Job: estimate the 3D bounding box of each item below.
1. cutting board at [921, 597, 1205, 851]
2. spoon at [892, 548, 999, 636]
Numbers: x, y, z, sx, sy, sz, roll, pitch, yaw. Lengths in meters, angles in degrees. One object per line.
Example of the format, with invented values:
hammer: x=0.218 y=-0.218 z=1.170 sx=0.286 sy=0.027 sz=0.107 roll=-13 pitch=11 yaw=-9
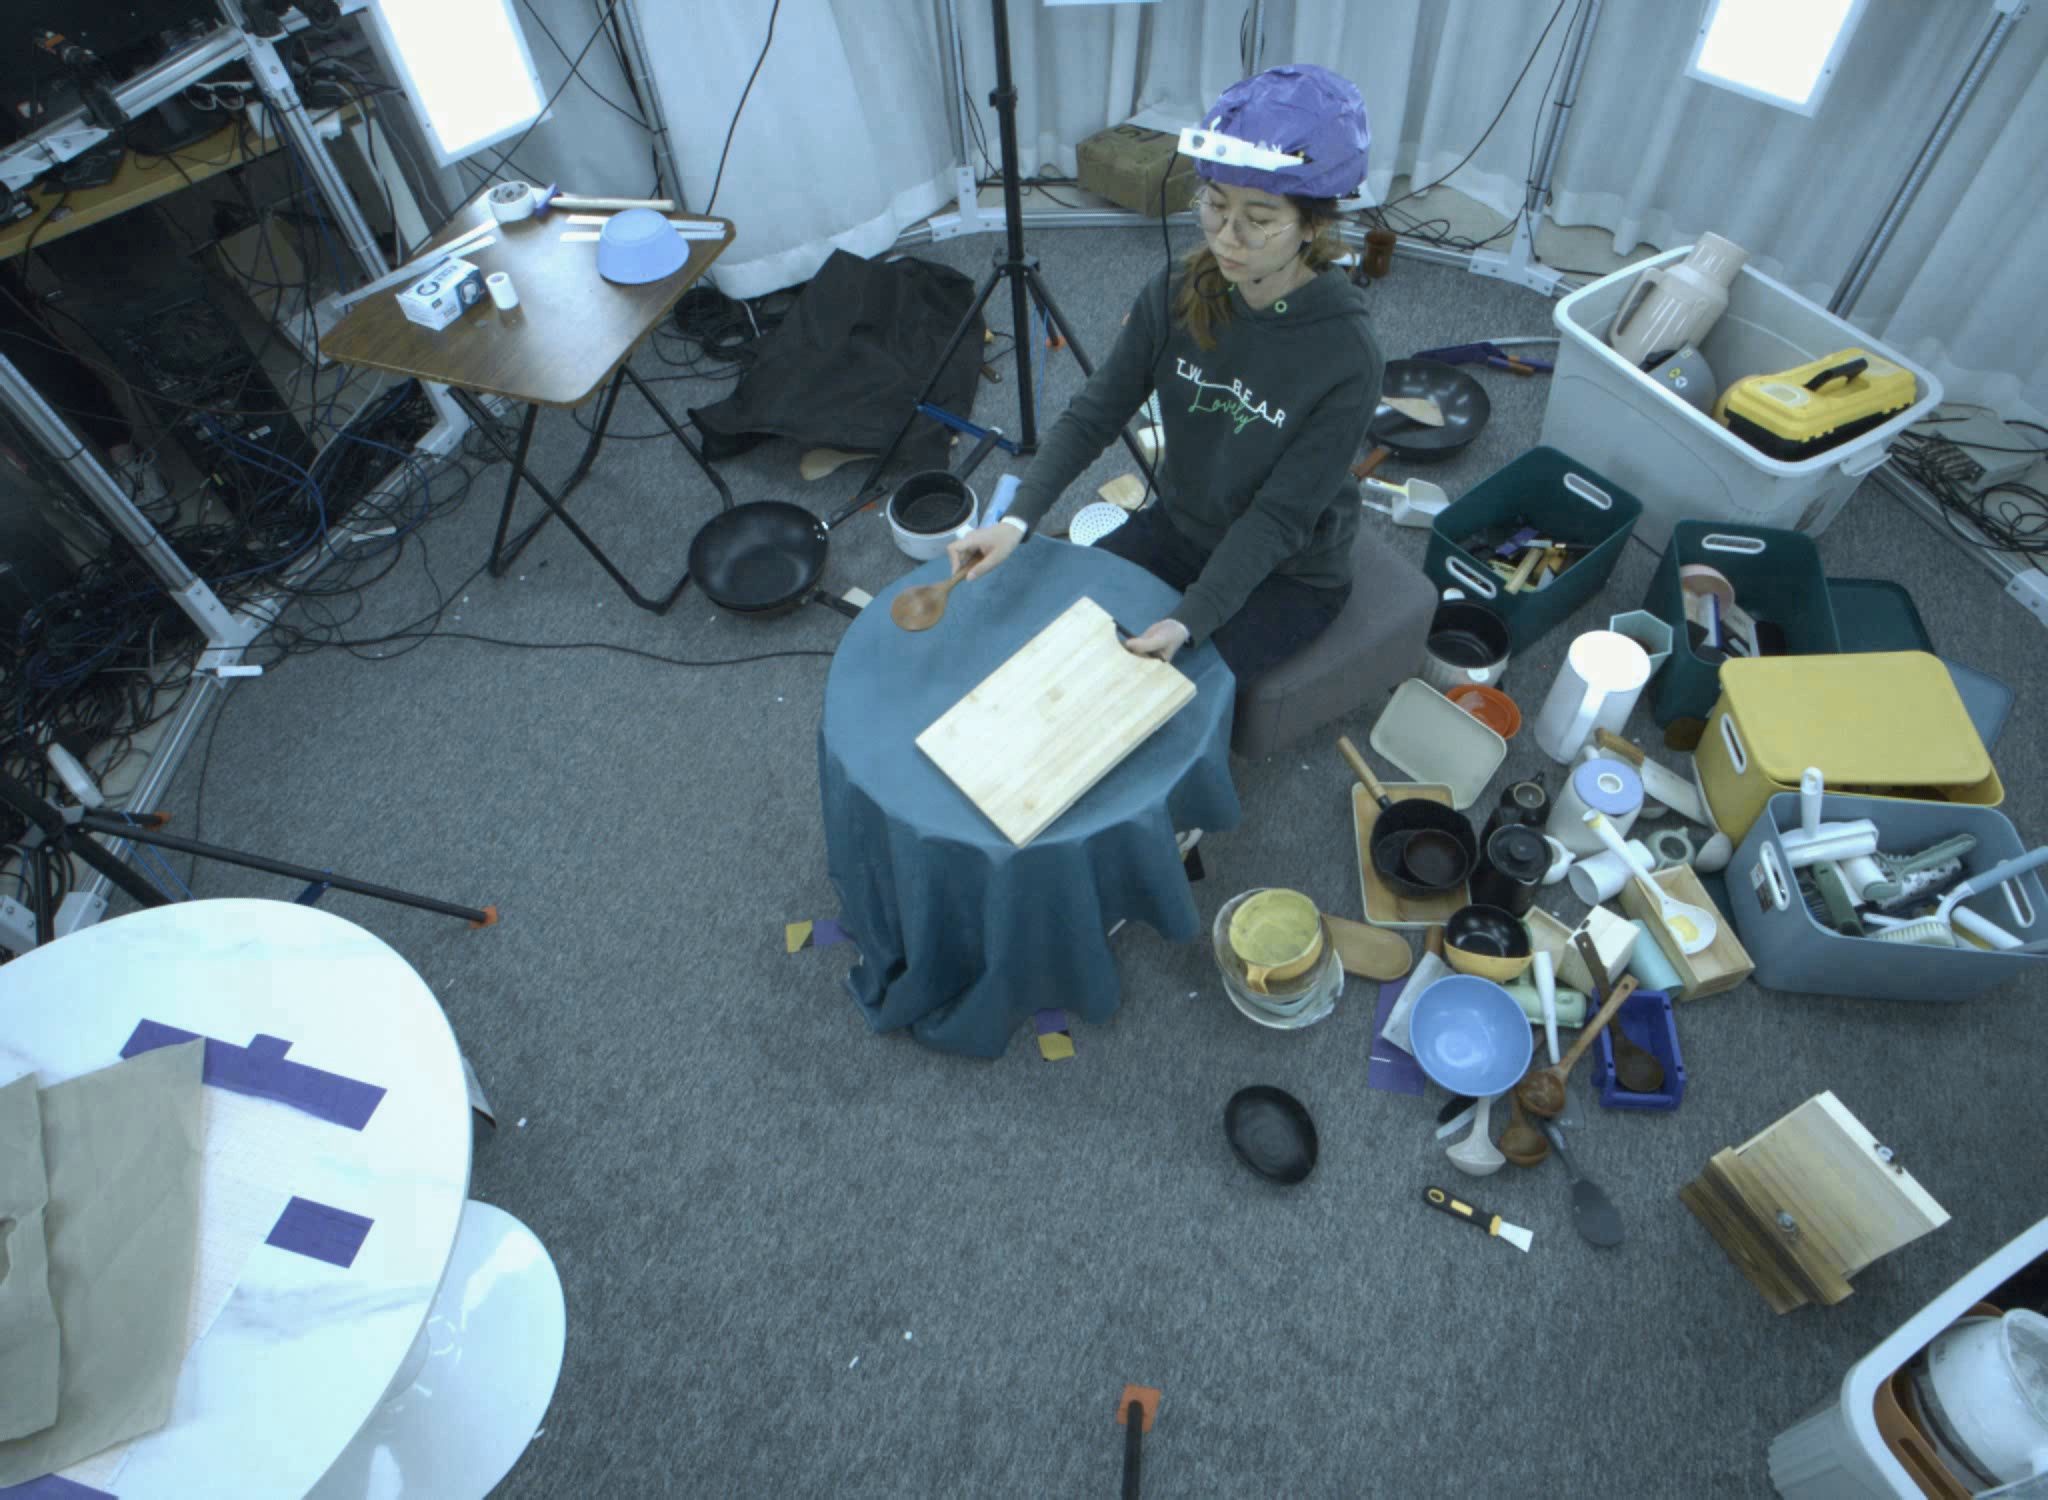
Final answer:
cutting board: x=0.052 y=-0.046 z=1.776 sx=0.350 sy=0.024 sz=0.246 roll=-42 pitch=64 yaw=-11
spoon: x=-0.114 y=-0.241 z=1.853 sx=0.075 sy=0.017 sz=0.217 roll=39 pitch=62 yaw=13
